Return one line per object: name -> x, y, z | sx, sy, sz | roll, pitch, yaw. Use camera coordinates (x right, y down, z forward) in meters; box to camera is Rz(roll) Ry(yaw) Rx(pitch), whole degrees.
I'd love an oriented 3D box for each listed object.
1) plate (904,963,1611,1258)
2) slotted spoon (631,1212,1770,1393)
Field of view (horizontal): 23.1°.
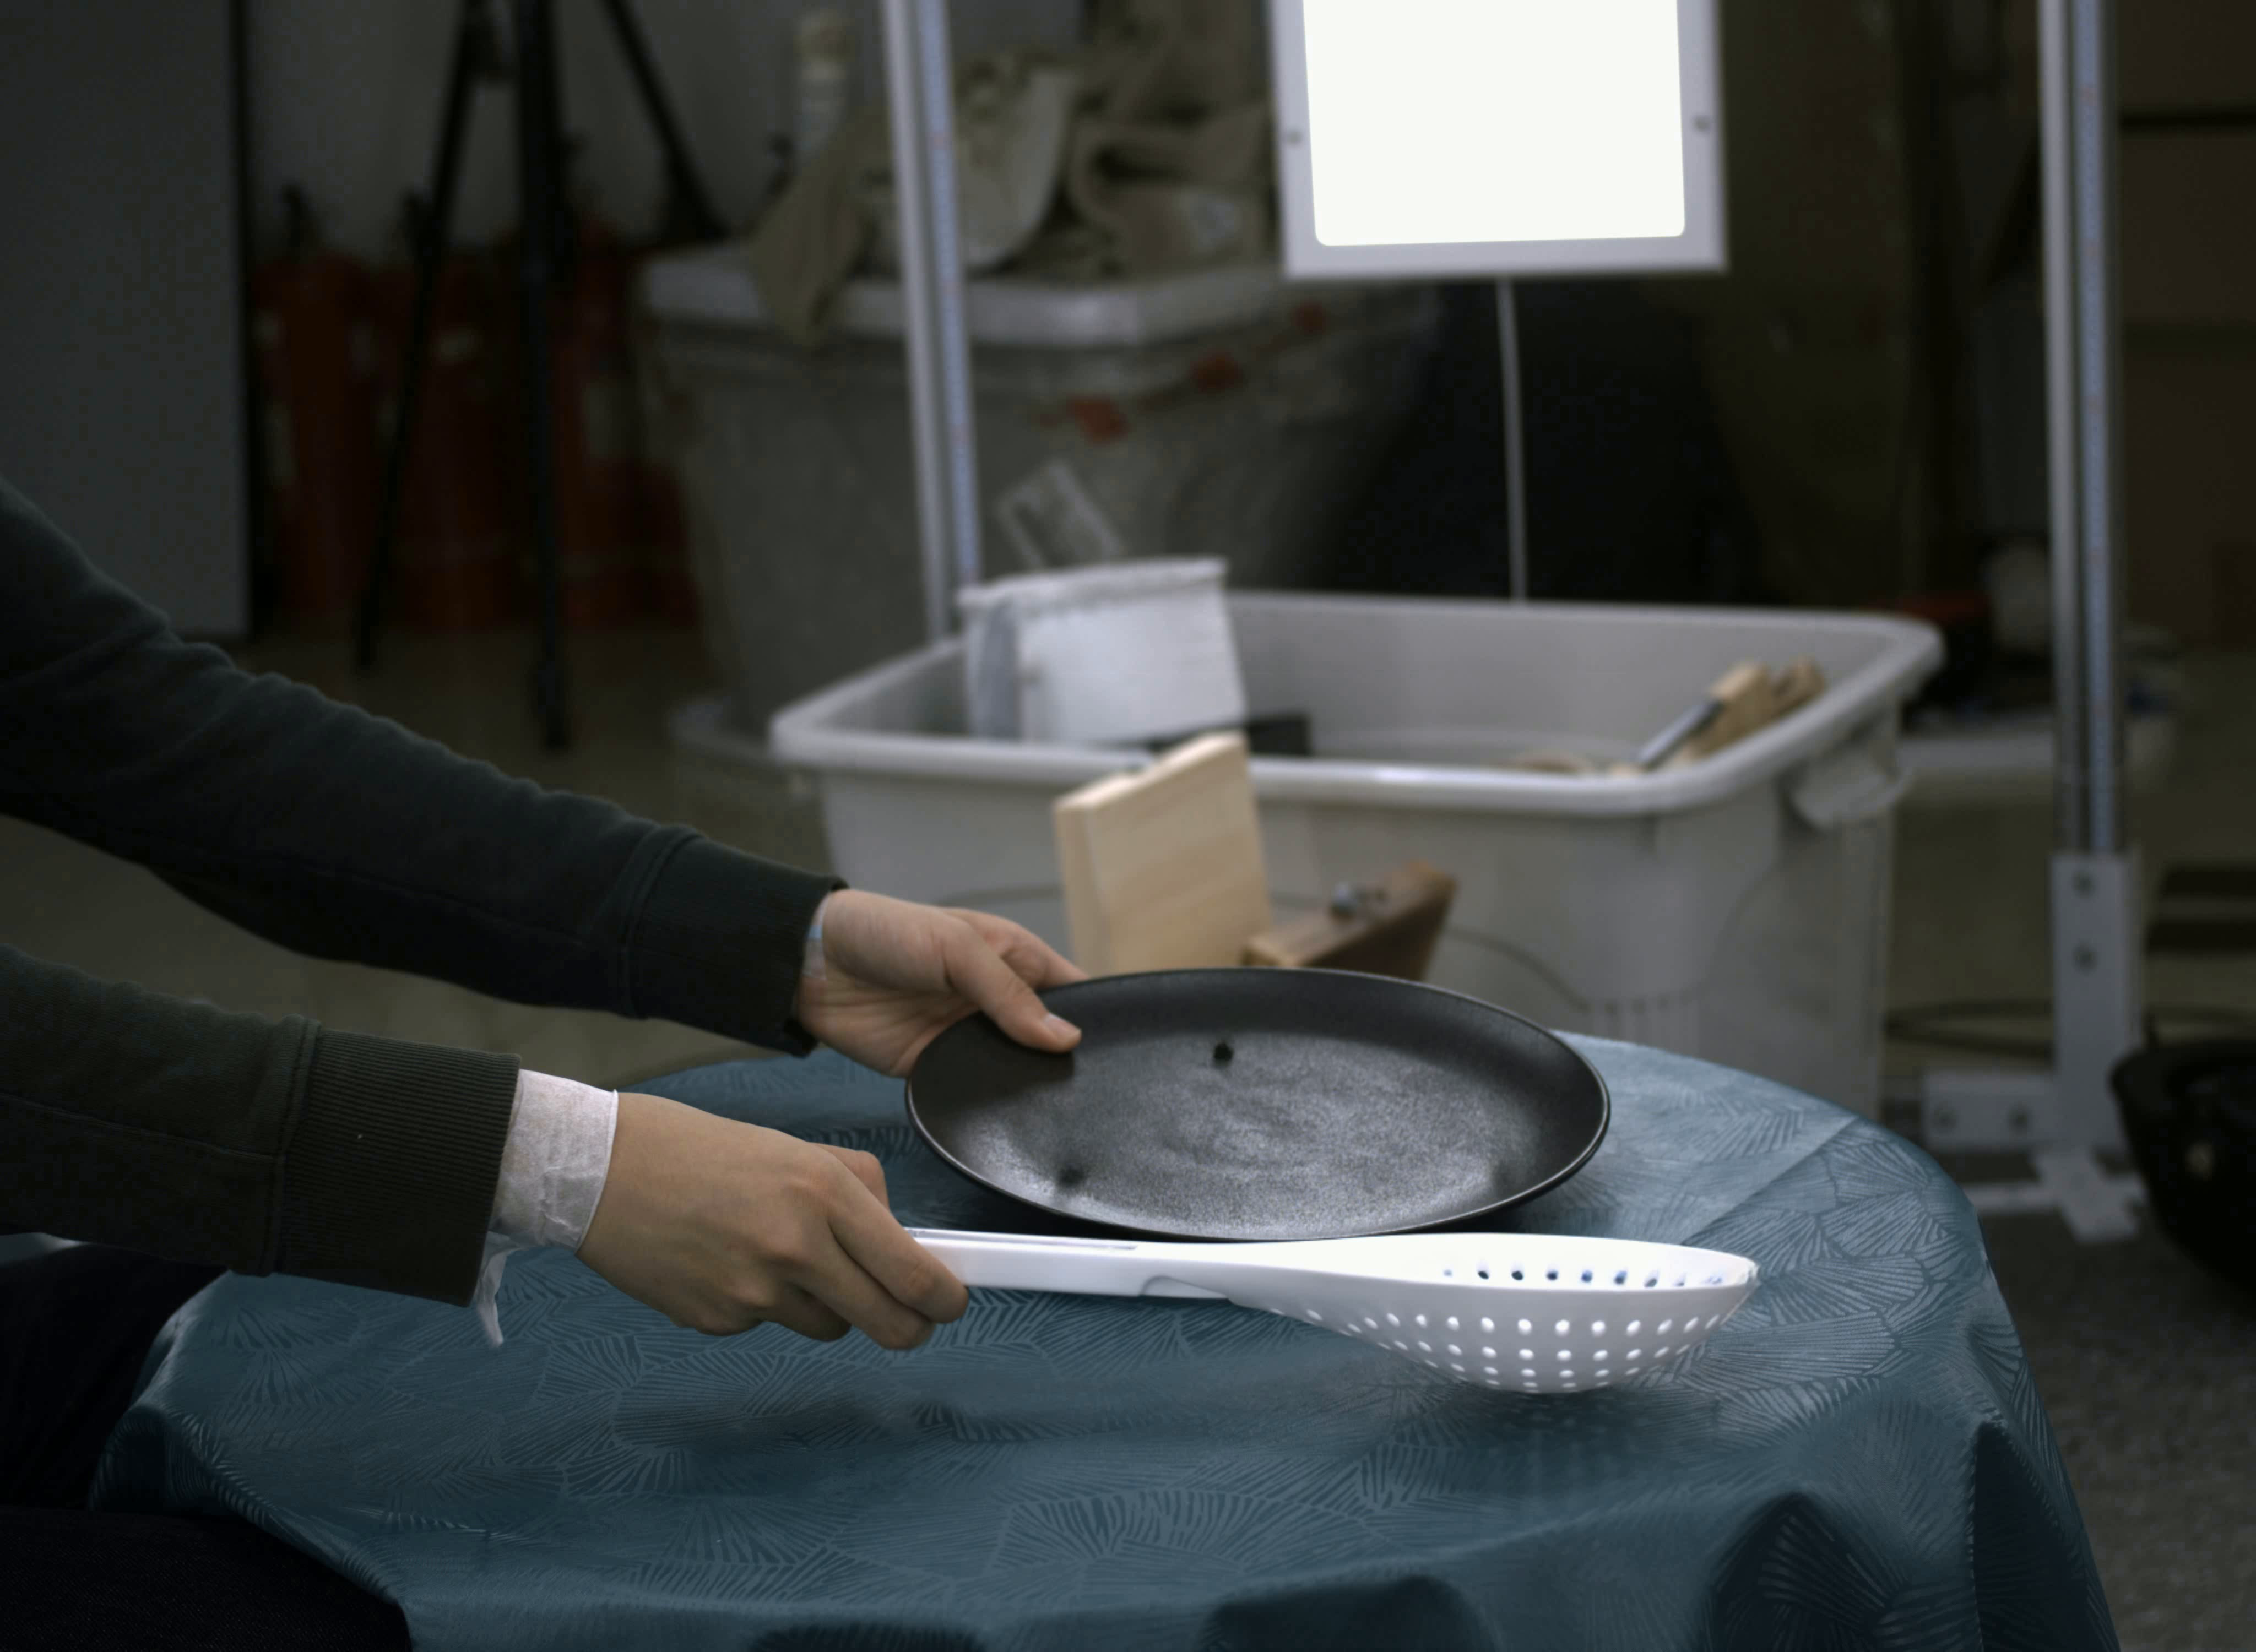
plate -> 0.044, 0.101, 1.888 | 0.243, 0.023, 0.244 | -1, 20, -1
slotted spoon -> 0.019, 0.134, 1.677 | 0.352, 0.046, 0.135 | 7, 2, 11
